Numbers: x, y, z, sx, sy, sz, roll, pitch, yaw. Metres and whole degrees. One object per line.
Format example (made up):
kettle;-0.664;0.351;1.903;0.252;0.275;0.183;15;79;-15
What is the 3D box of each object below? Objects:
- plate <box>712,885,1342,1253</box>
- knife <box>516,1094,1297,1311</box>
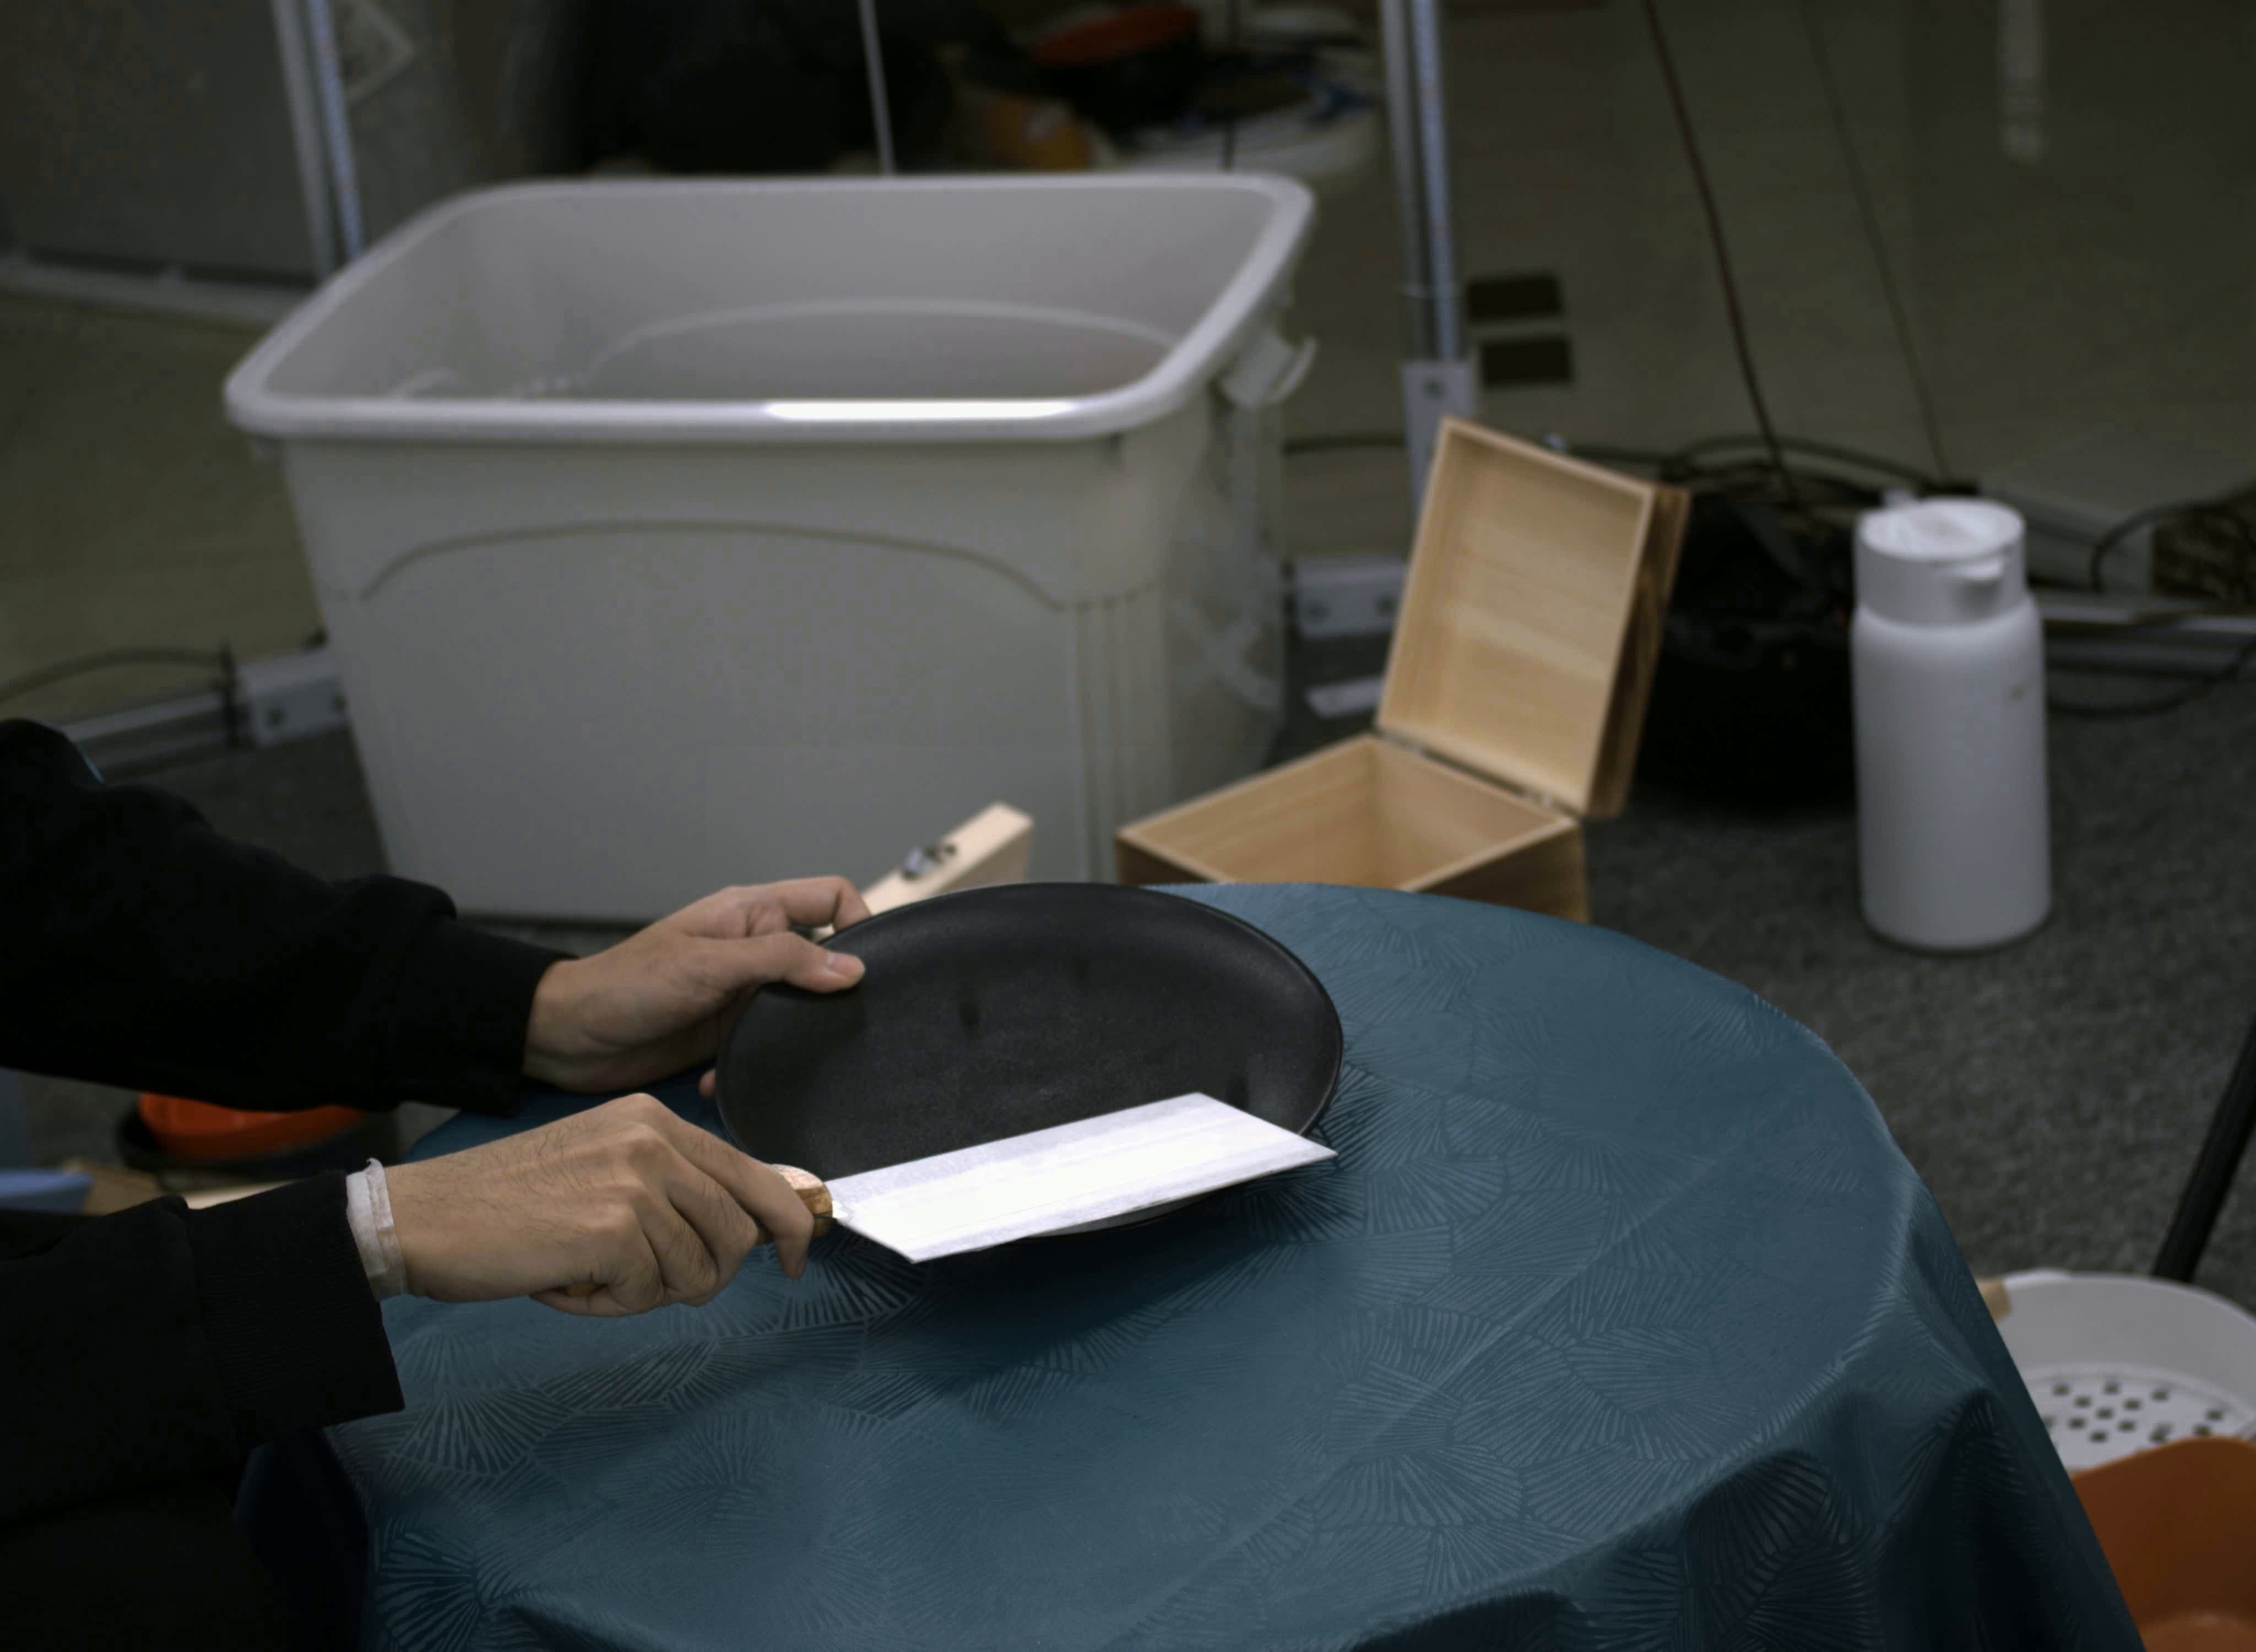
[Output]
plate;-0.039;0.097;2.187;0.244;0.024;0.240;-3;33;2
knife;-0.072;0.138;2.061;0.304;0.021;0.092;-12;20;-33
